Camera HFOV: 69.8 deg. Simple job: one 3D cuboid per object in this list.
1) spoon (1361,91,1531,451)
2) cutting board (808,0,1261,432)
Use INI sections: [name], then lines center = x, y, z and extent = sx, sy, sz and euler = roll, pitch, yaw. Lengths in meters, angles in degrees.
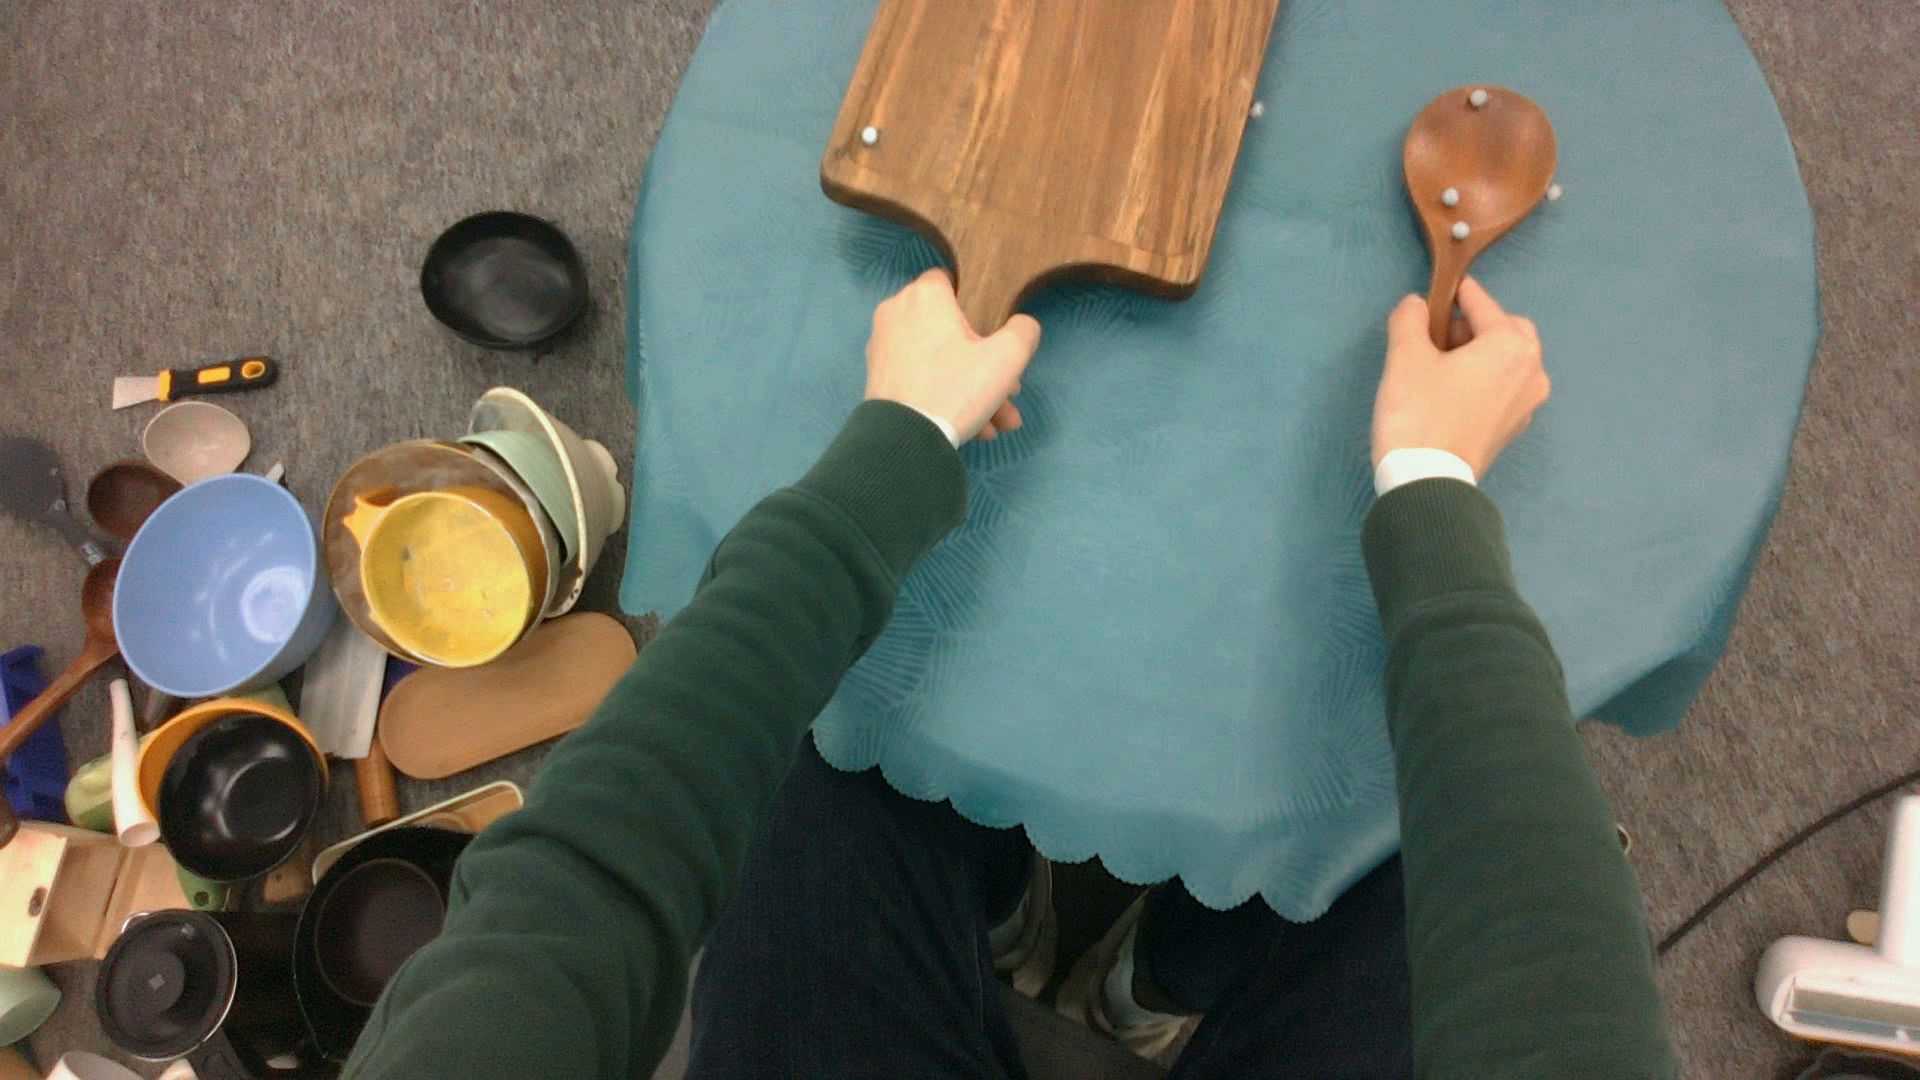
[spoon]
center = 0.233, -0.137, 0.682
extent = 0.075, 0.017, 0.216
euler = 18, 67, 7
[cutting board]
center = 0.036, -0.214, 0.708
extent = 0.201, 0.023, 0.353
euler = 16, 70, 4
